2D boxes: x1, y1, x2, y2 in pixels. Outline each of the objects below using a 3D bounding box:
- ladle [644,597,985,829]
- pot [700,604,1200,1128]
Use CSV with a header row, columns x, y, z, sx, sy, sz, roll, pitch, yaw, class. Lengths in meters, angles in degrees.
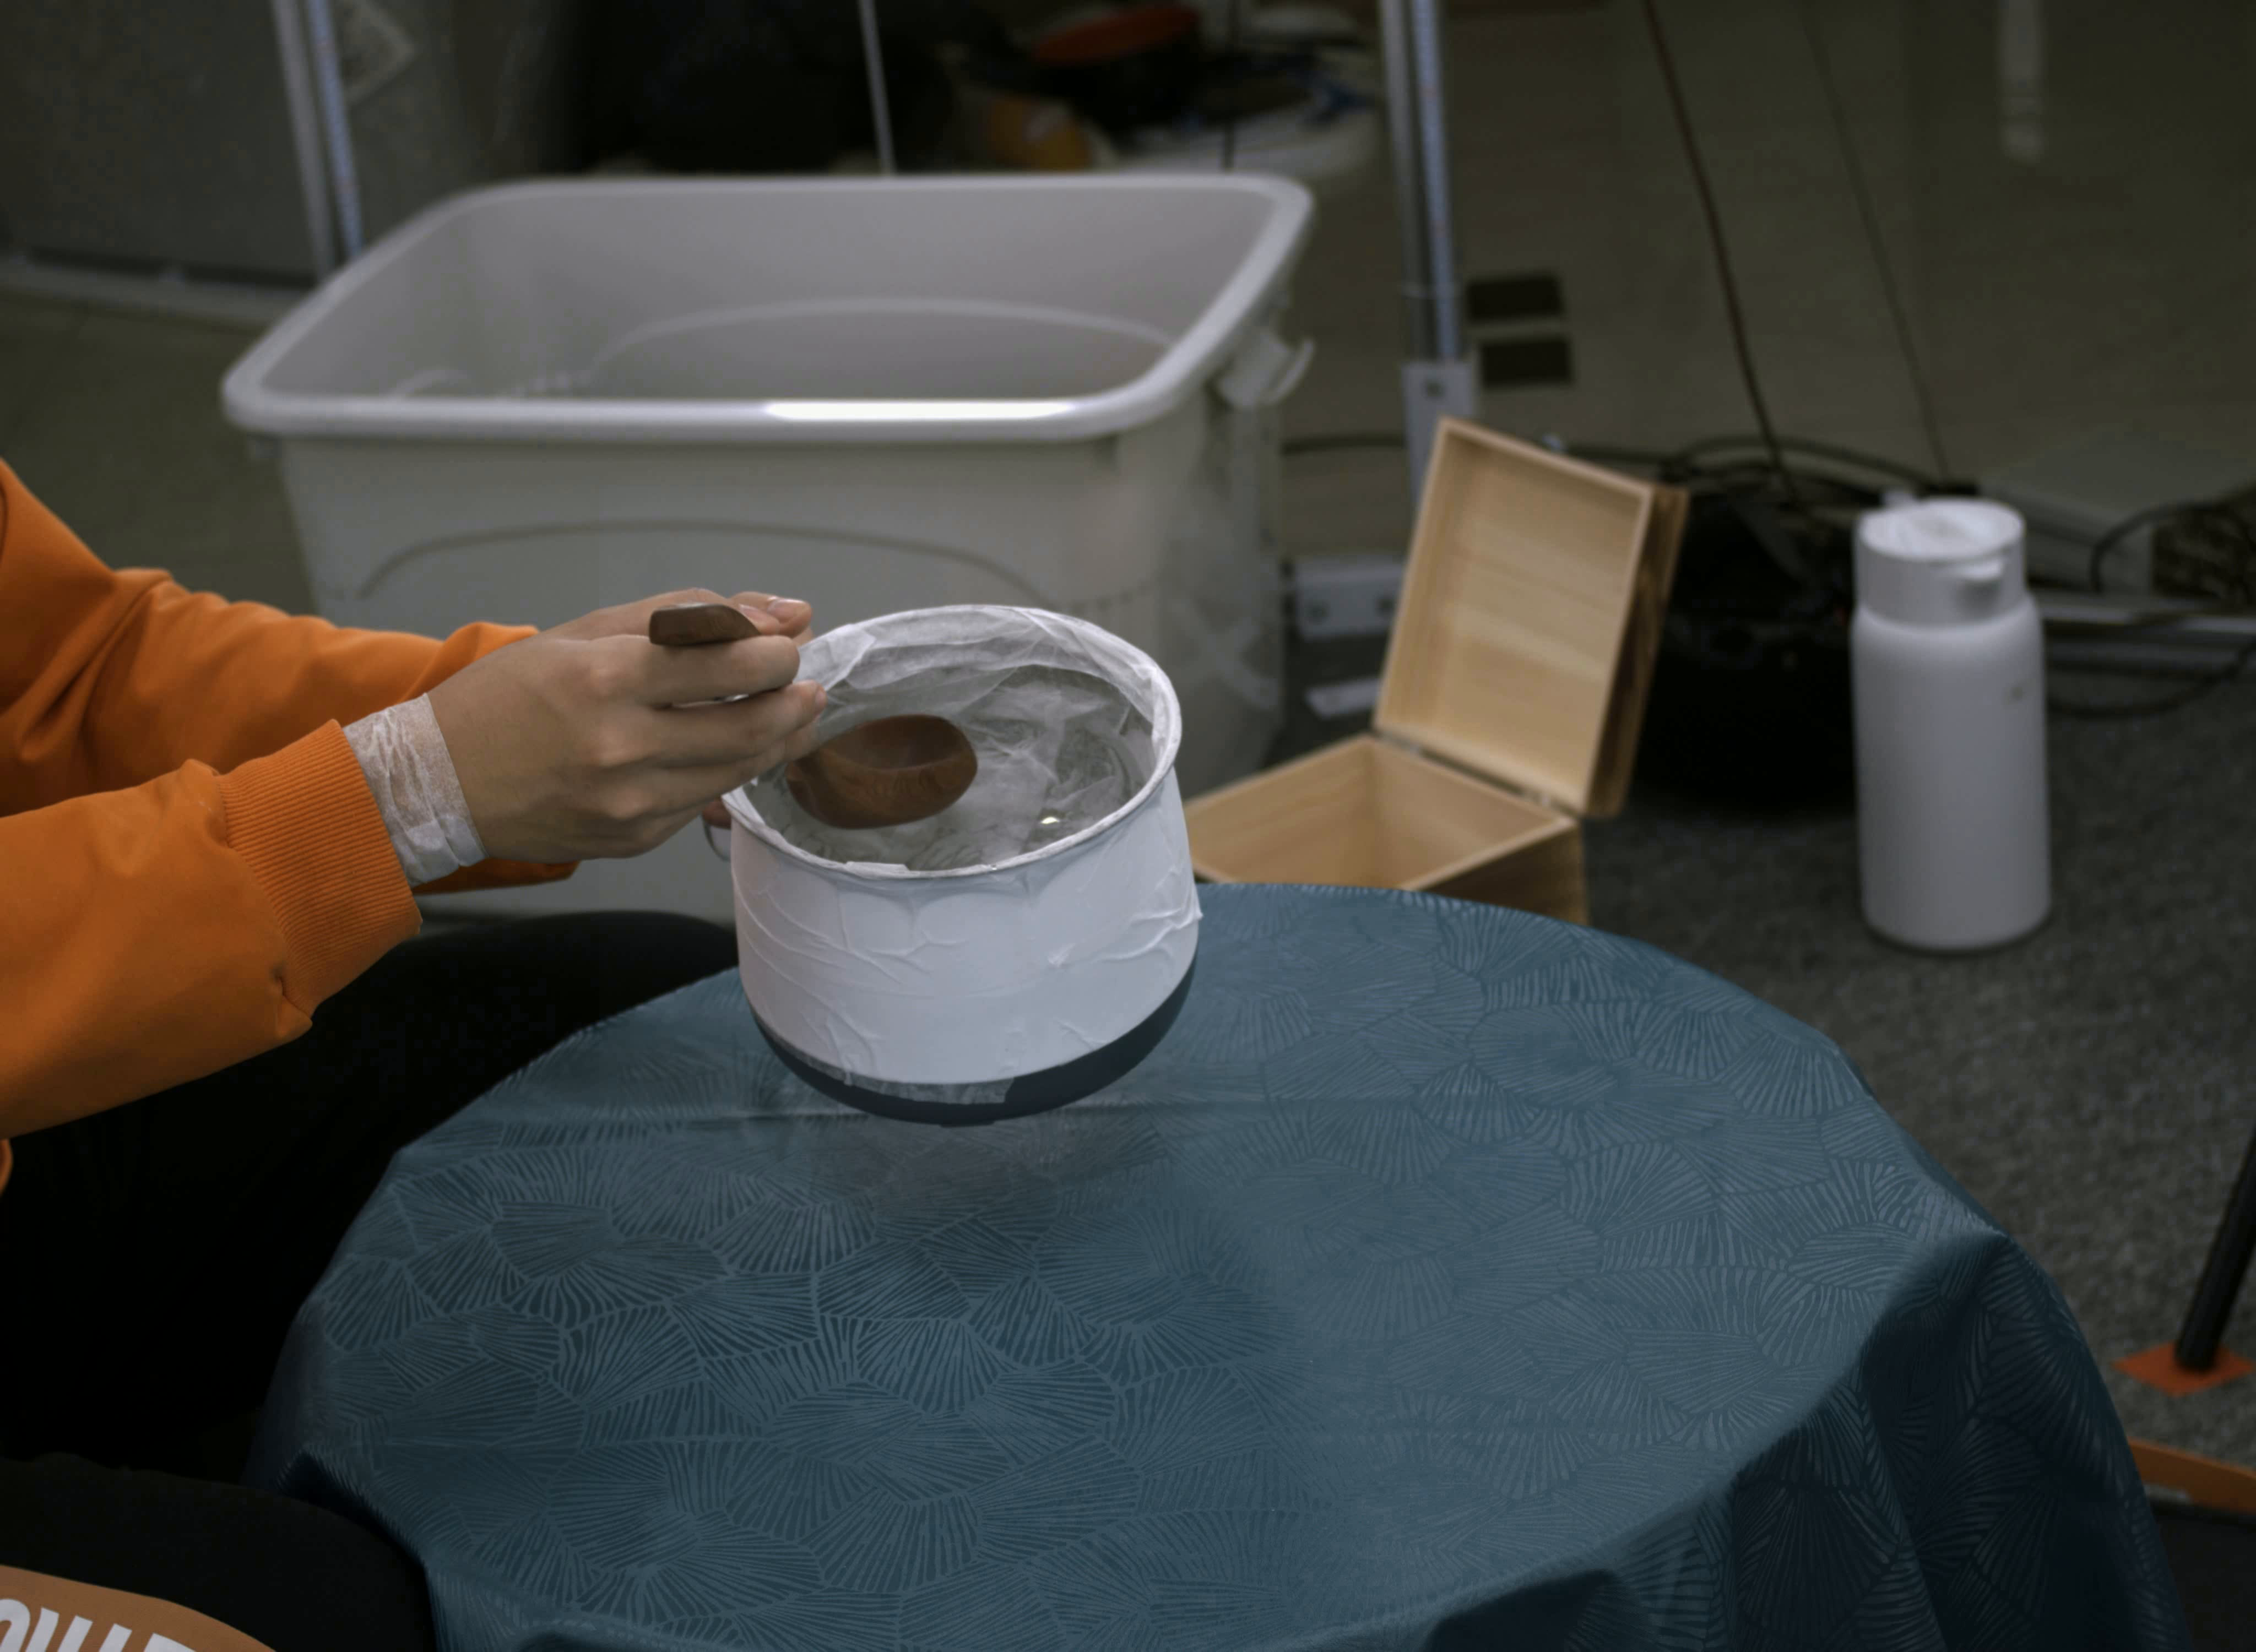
x,y,z,sx,sy,sz,roll,pitch,yaw,class
-0.120,-0.054,2.045,0.076,0.263,0.064,-10,69,15,ladle
-0.082,0.007,2.160,0.231,0.139,0.177,28,47,36,pot
